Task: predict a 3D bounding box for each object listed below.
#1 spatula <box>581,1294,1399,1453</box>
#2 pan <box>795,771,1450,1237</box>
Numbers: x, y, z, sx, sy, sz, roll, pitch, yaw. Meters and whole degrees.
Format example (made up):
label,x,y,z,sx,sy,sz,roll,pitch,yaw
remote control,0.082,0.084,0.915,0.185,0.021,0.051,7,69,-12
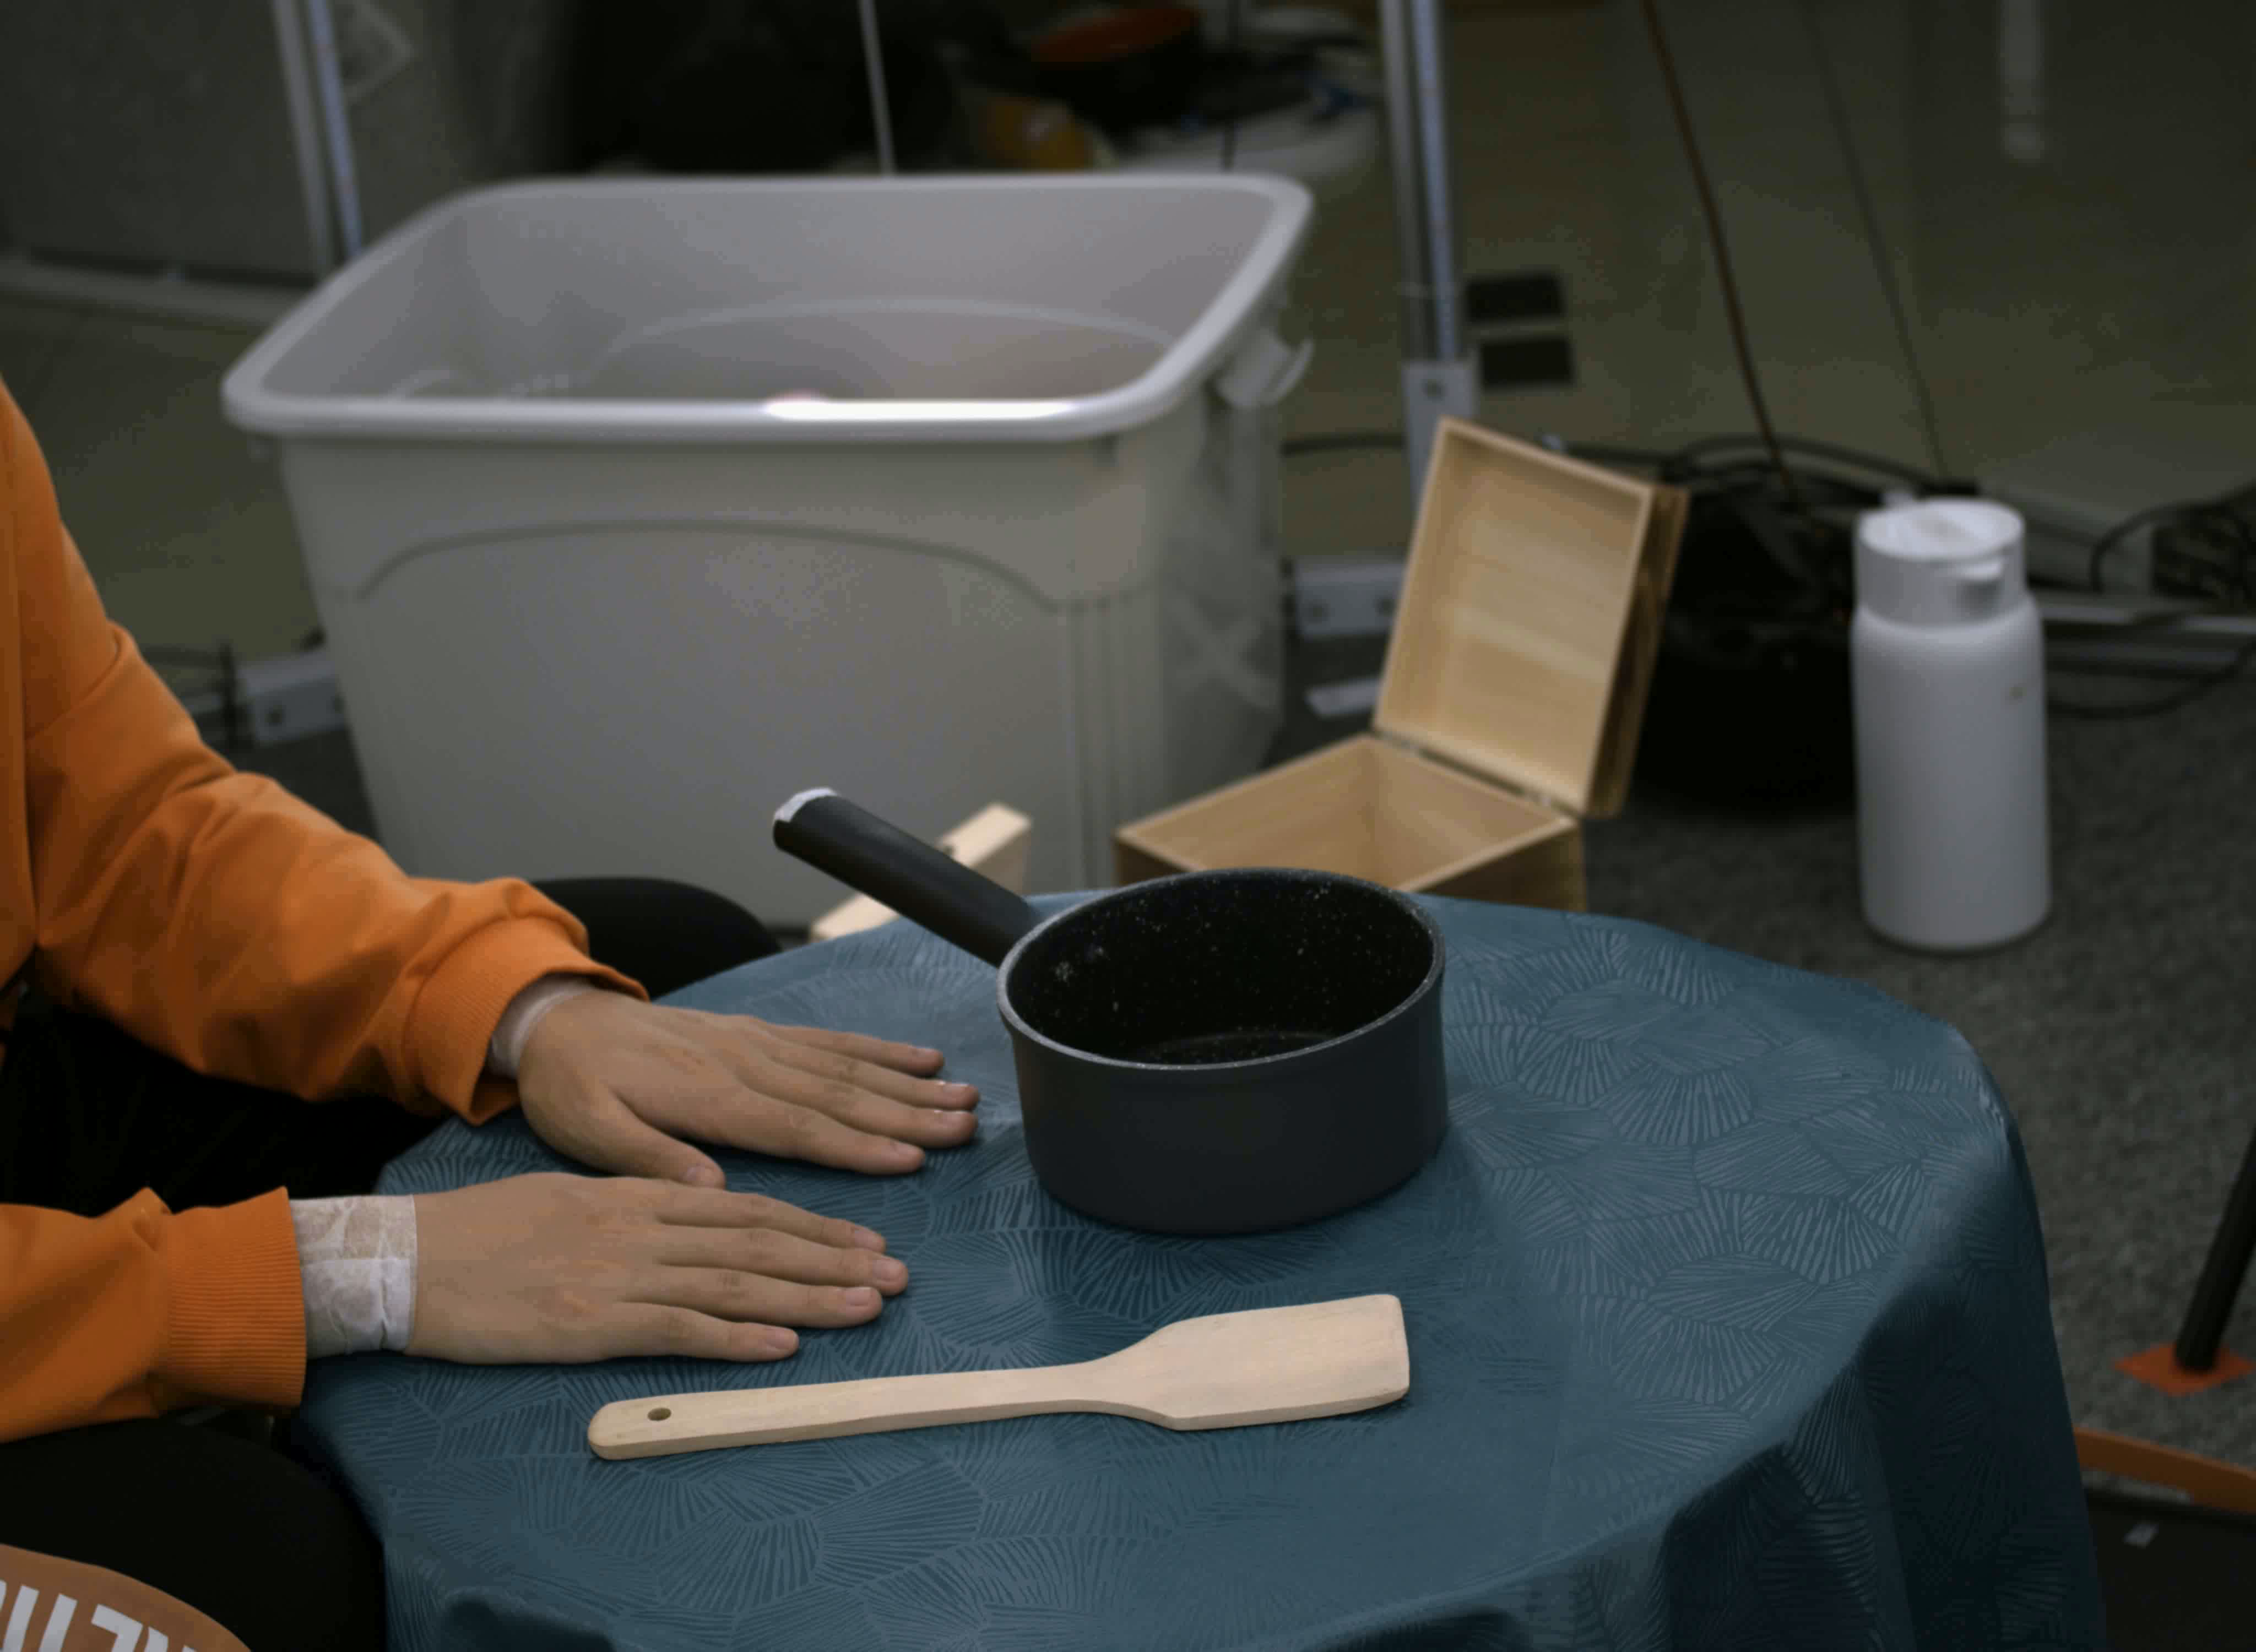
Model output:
label,x,y,z,sx,sy,sz,roll,pitch,yaw
spatula,-0.049,0.201,2.015,0.292,0.011,0.071,-6,29,2
pan,-0.015,0.063,2.212,0.170,0.088,0.326,-25,32,-36
